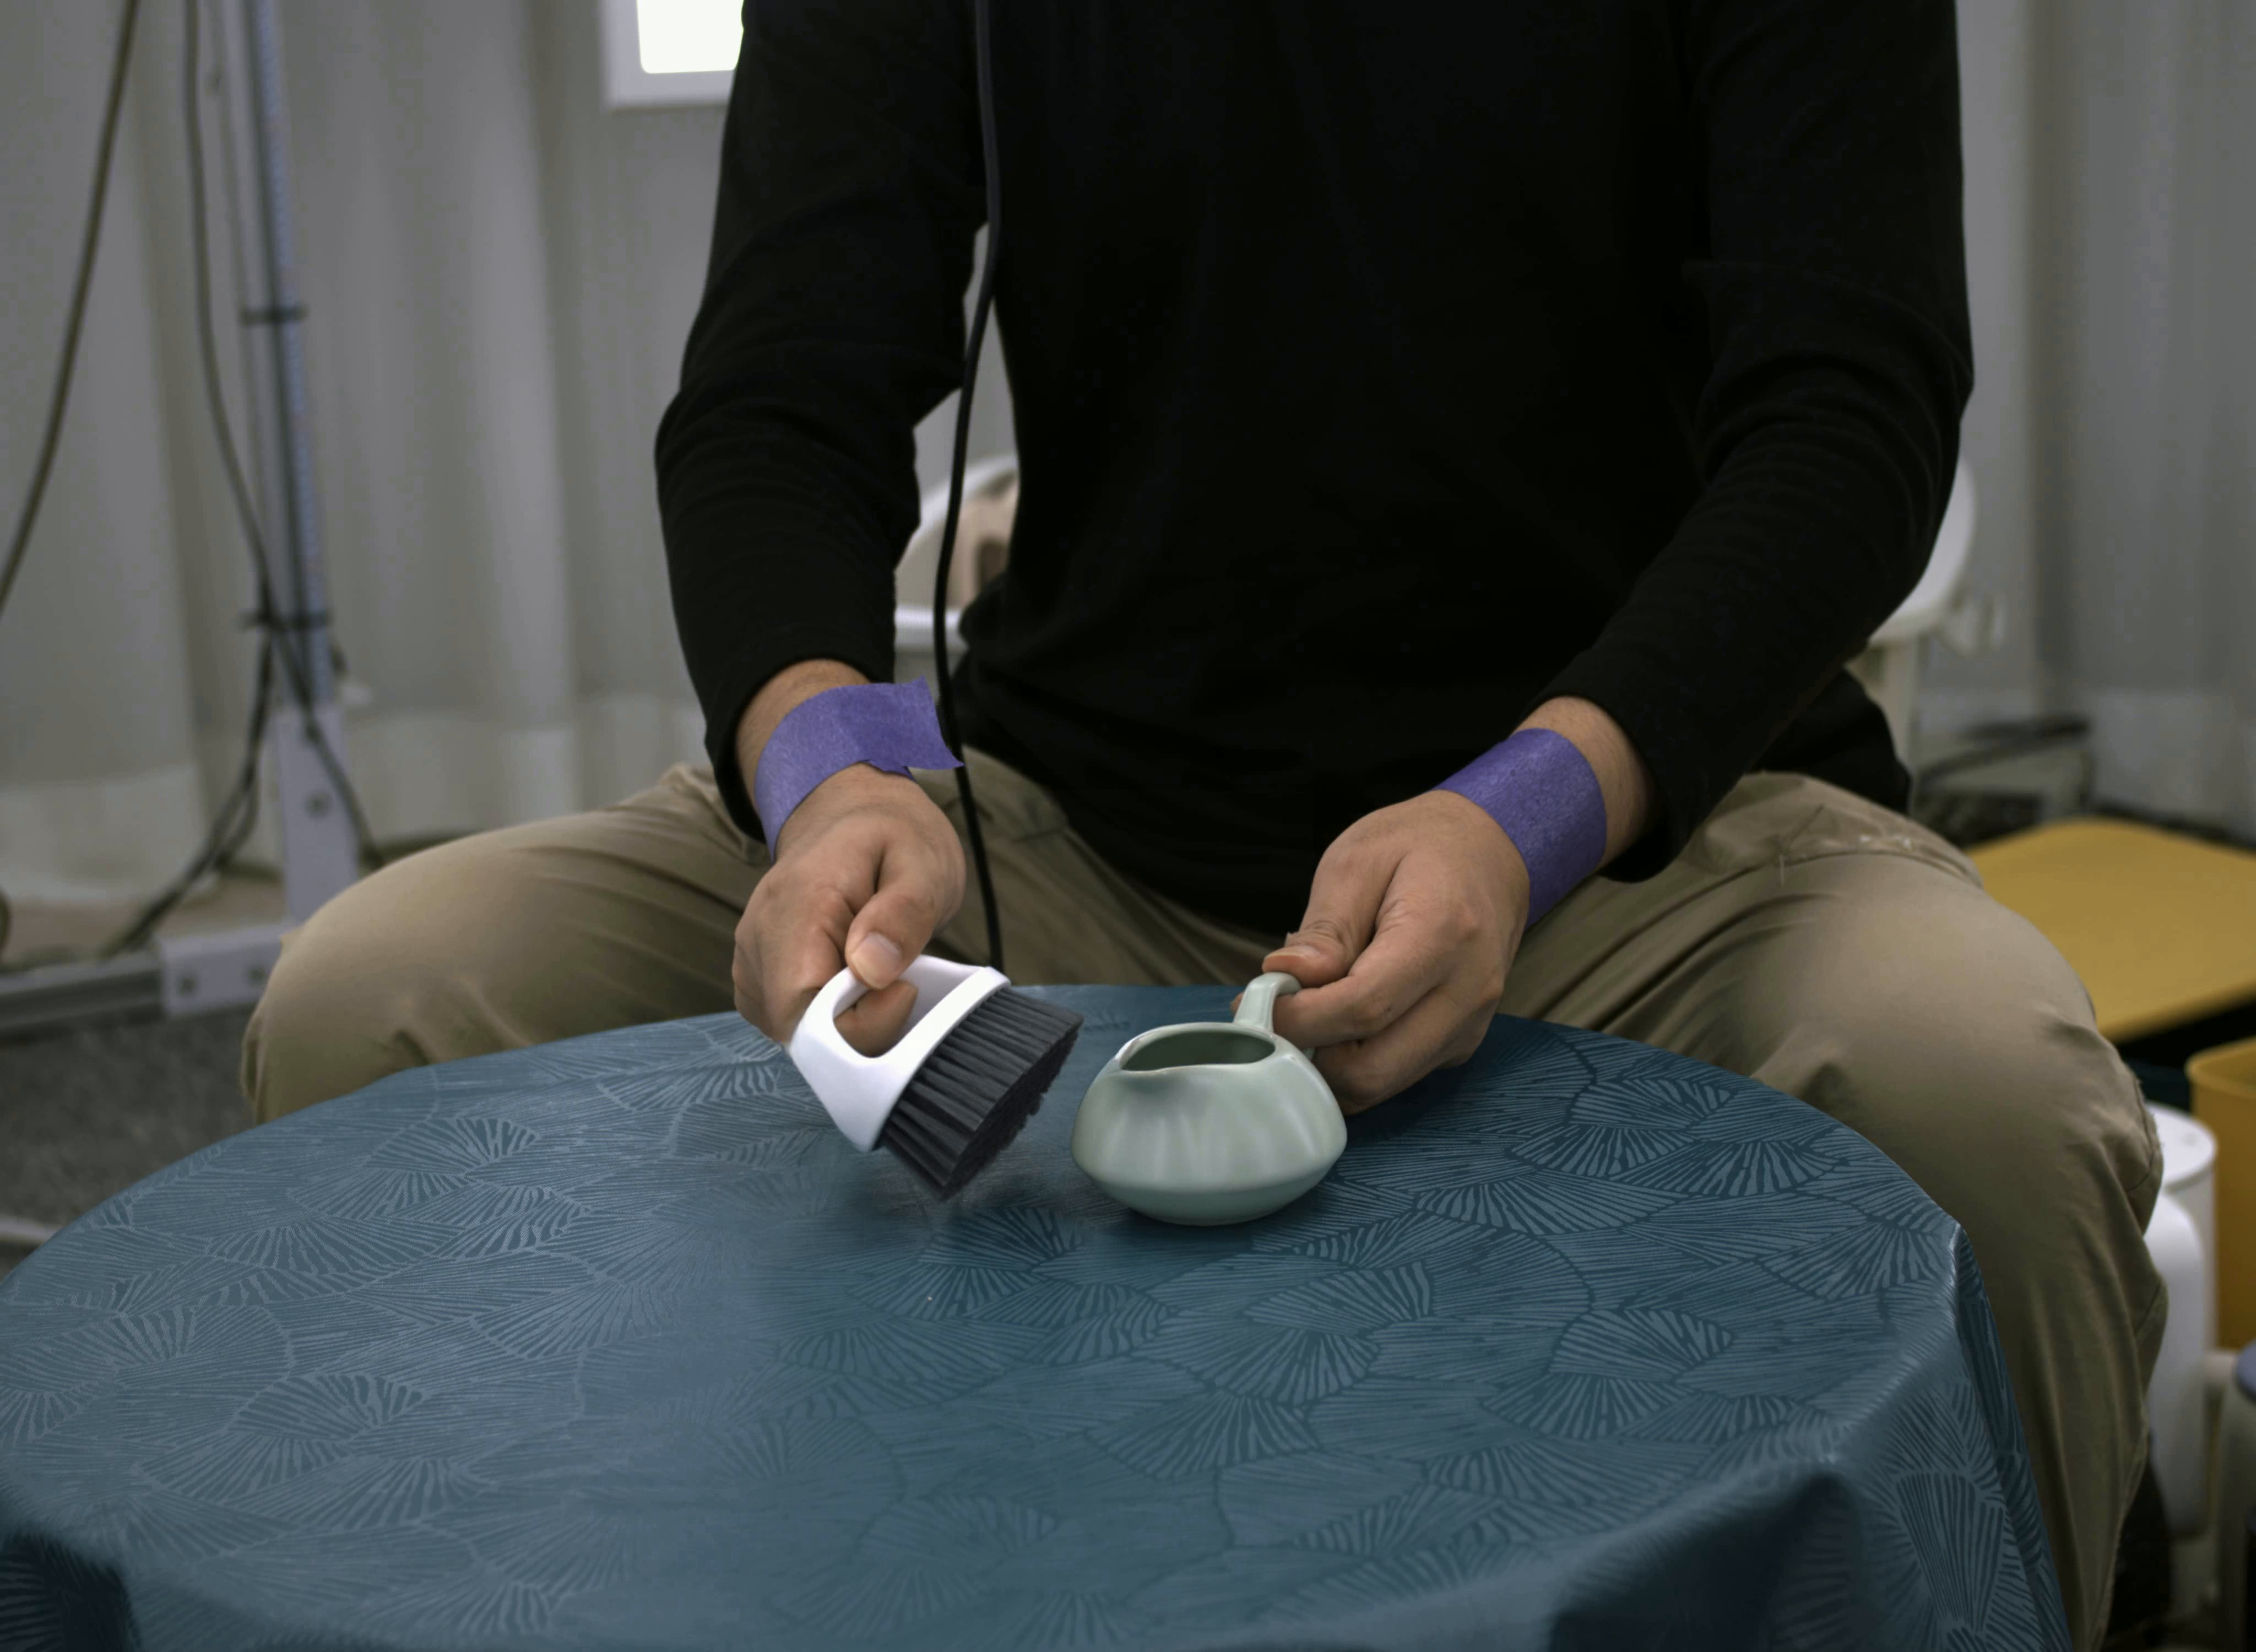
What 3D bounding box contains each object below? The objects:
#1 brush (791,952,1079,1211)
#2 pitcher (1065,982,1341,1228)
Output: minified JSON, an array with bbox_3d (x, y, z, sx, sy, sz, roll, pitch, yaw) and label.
[{"bbox_3d":[-0.067,0.072,1.725,0.072,0.050,0.099,32,29,9],"label":"brush"},{"bbox_3d":[0.028,0.087,1.704,0.086,0.060,0.108,7,15,26],"label":"pitcher"}]
